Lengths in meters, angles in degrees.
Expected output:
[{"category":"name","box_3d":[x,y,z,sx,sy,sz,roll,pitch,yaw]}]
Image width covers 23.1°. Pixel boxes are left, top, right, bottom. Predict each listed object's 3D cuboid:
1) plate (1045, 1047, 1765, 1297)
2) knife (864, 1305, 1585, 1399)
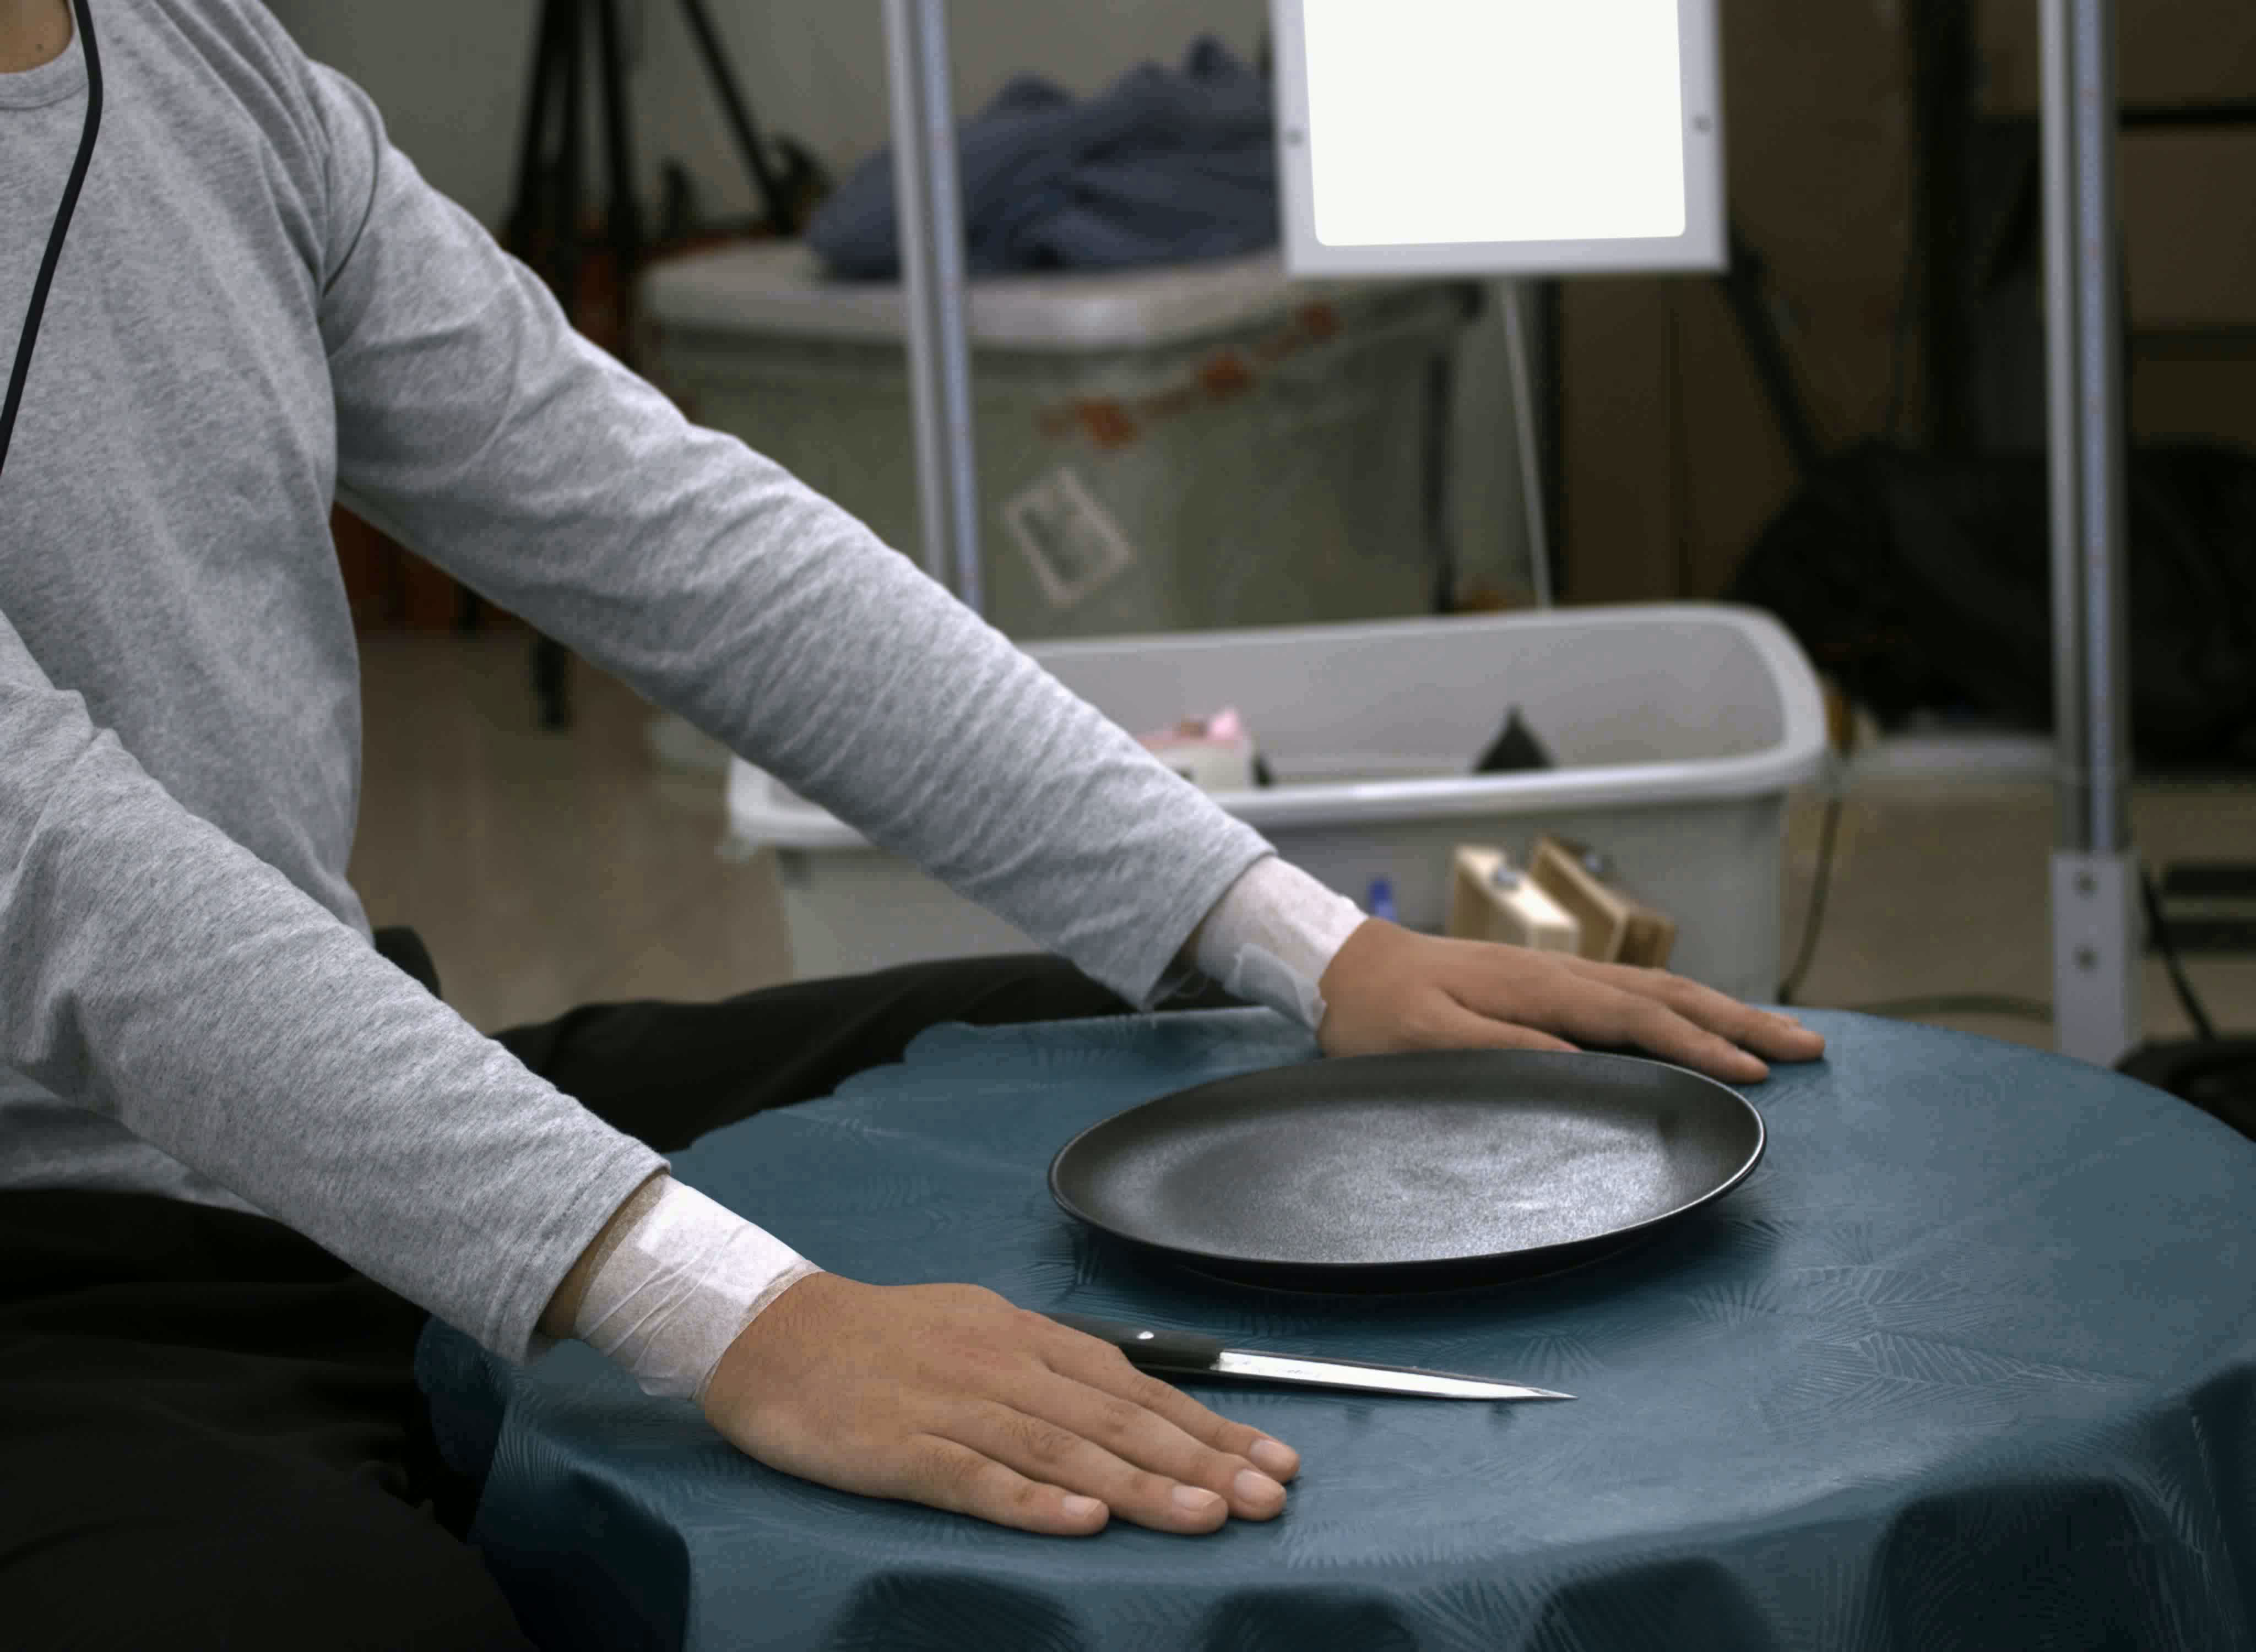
[{"category":"plate","box_3d":[0.094,0.119,1.852,0.244,0.023,0.244,-5,14,0]},{"category":"knife","box_3d":[0.026,0.166,1.707,0.241,0.016,0.024,3,16,22]}]
